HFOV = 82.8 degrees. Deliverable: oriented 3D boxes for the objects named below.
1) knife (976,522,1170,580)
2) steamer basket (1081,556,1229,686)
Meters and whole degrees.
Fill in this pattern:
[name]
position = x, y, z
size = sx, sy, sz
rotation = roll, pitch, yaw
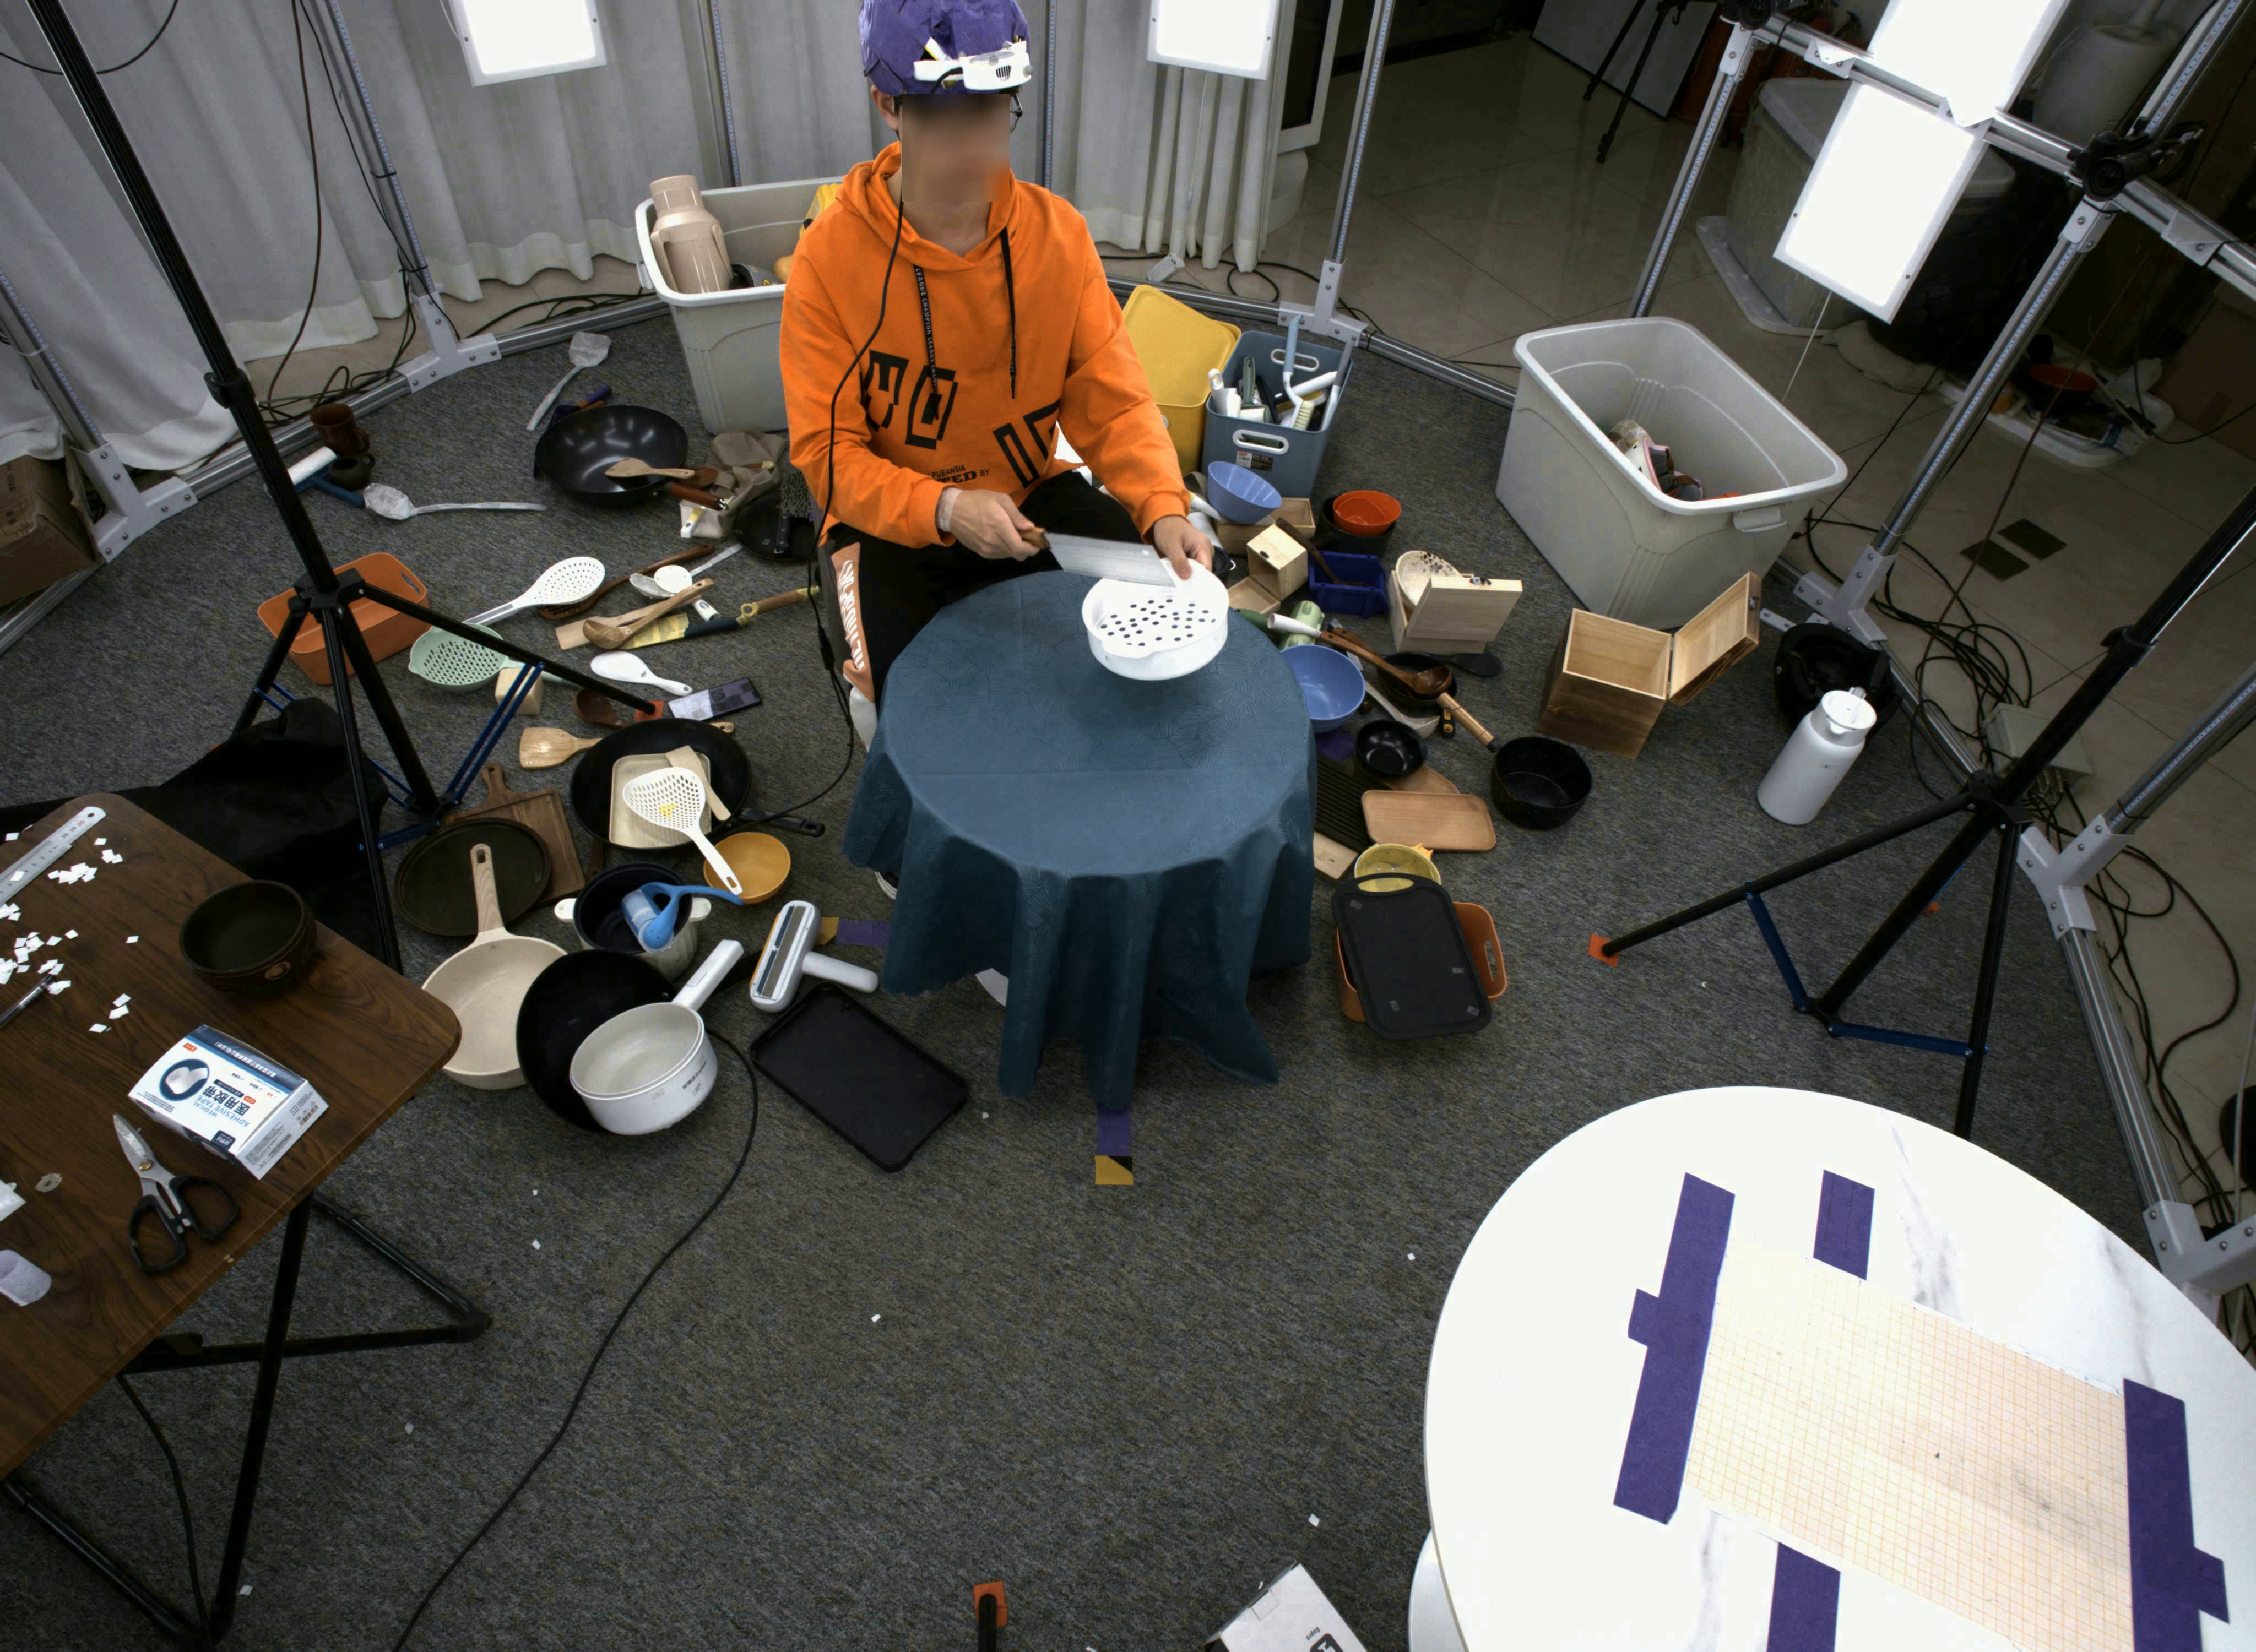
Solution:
[knife]
position = -0.076, -0.378, 1.784
size = 0.308, 0.091, 0.021
rotation = 15, 69, 33
[steamer basket]
position = 0.039, -0.279, 1.772
size = 0.203, 0.067, 0.235
rotation = 14, 51, 19
